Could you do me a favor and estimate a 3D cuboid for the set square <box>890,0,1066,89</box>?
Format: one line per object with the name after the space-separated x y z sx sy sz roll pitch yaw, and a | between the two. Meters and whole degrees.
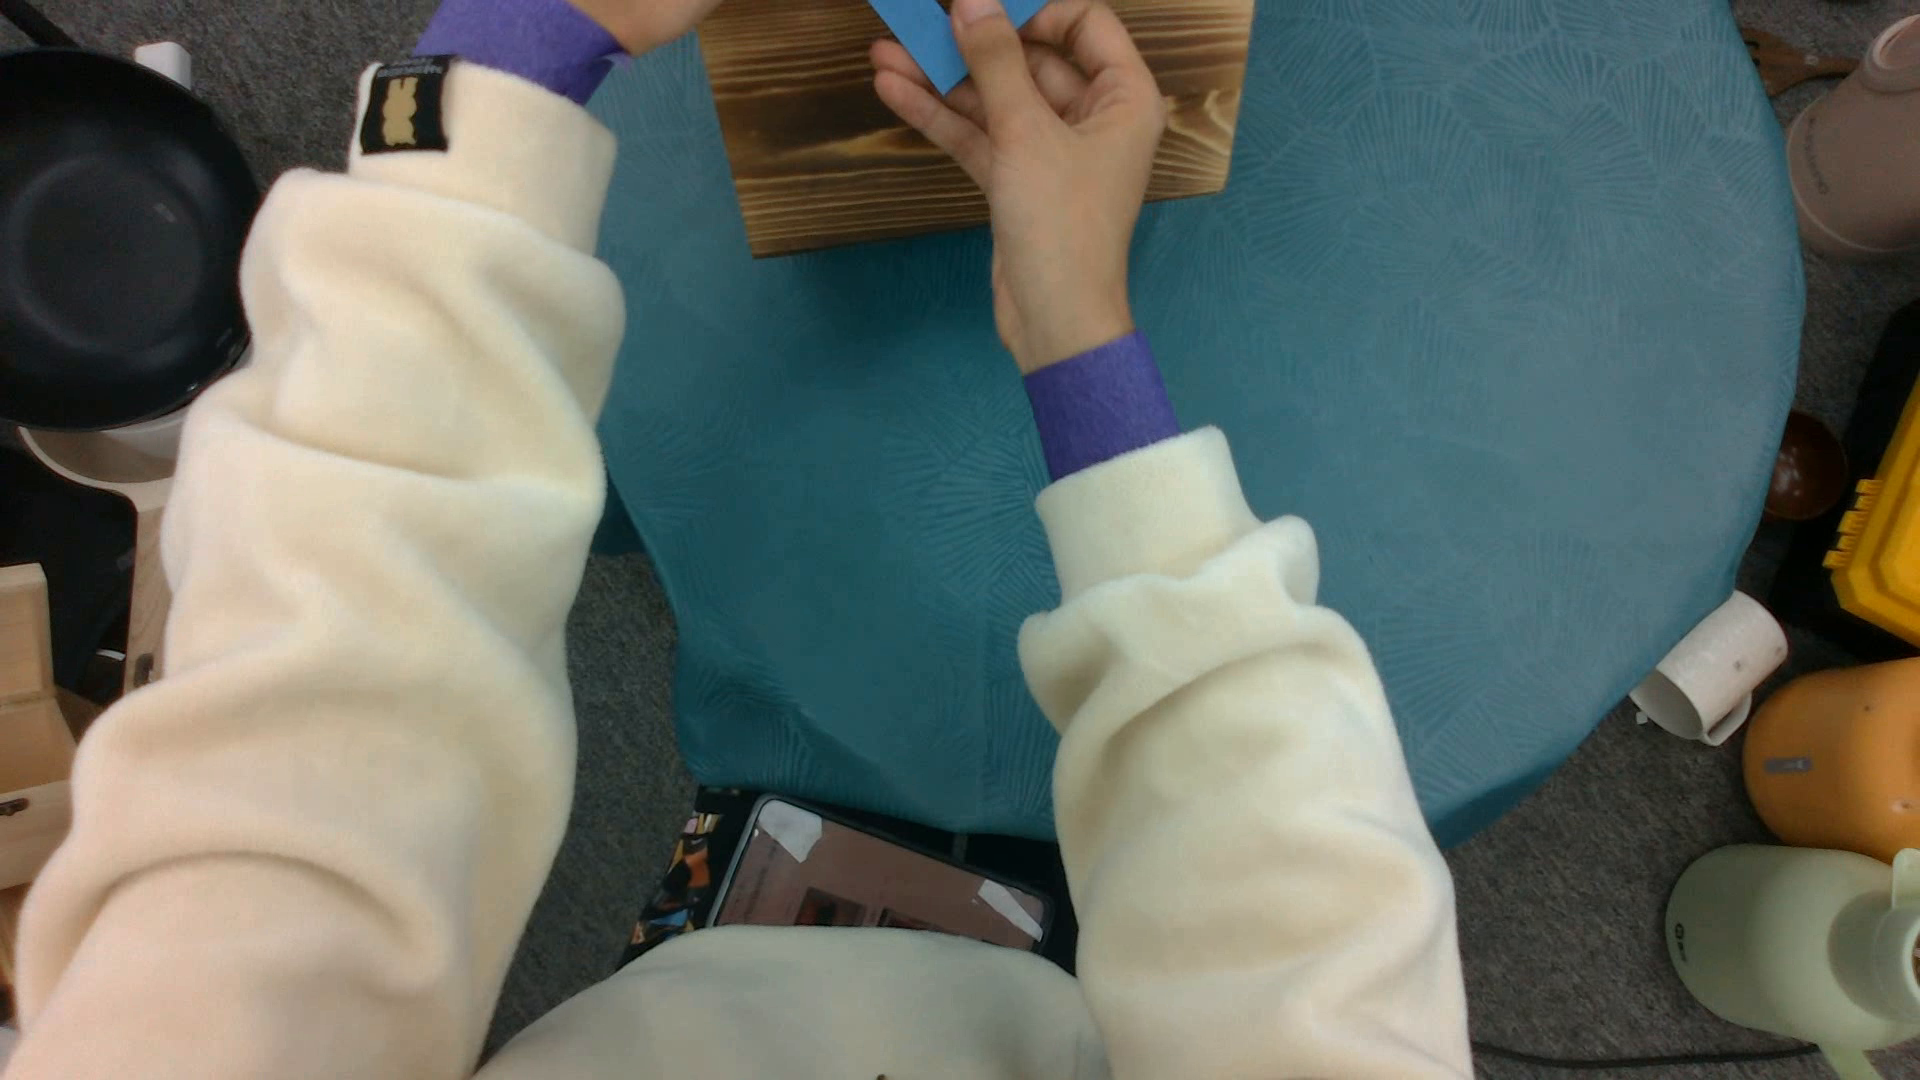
0.028 -0.184 0.455 0.132 0.006 0.061 -6 102 -1 | set square

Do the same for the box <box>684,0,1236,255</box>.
-0.028 -0.358 0.516 0.209 0.374 0.323 -10 55 -3 | box
